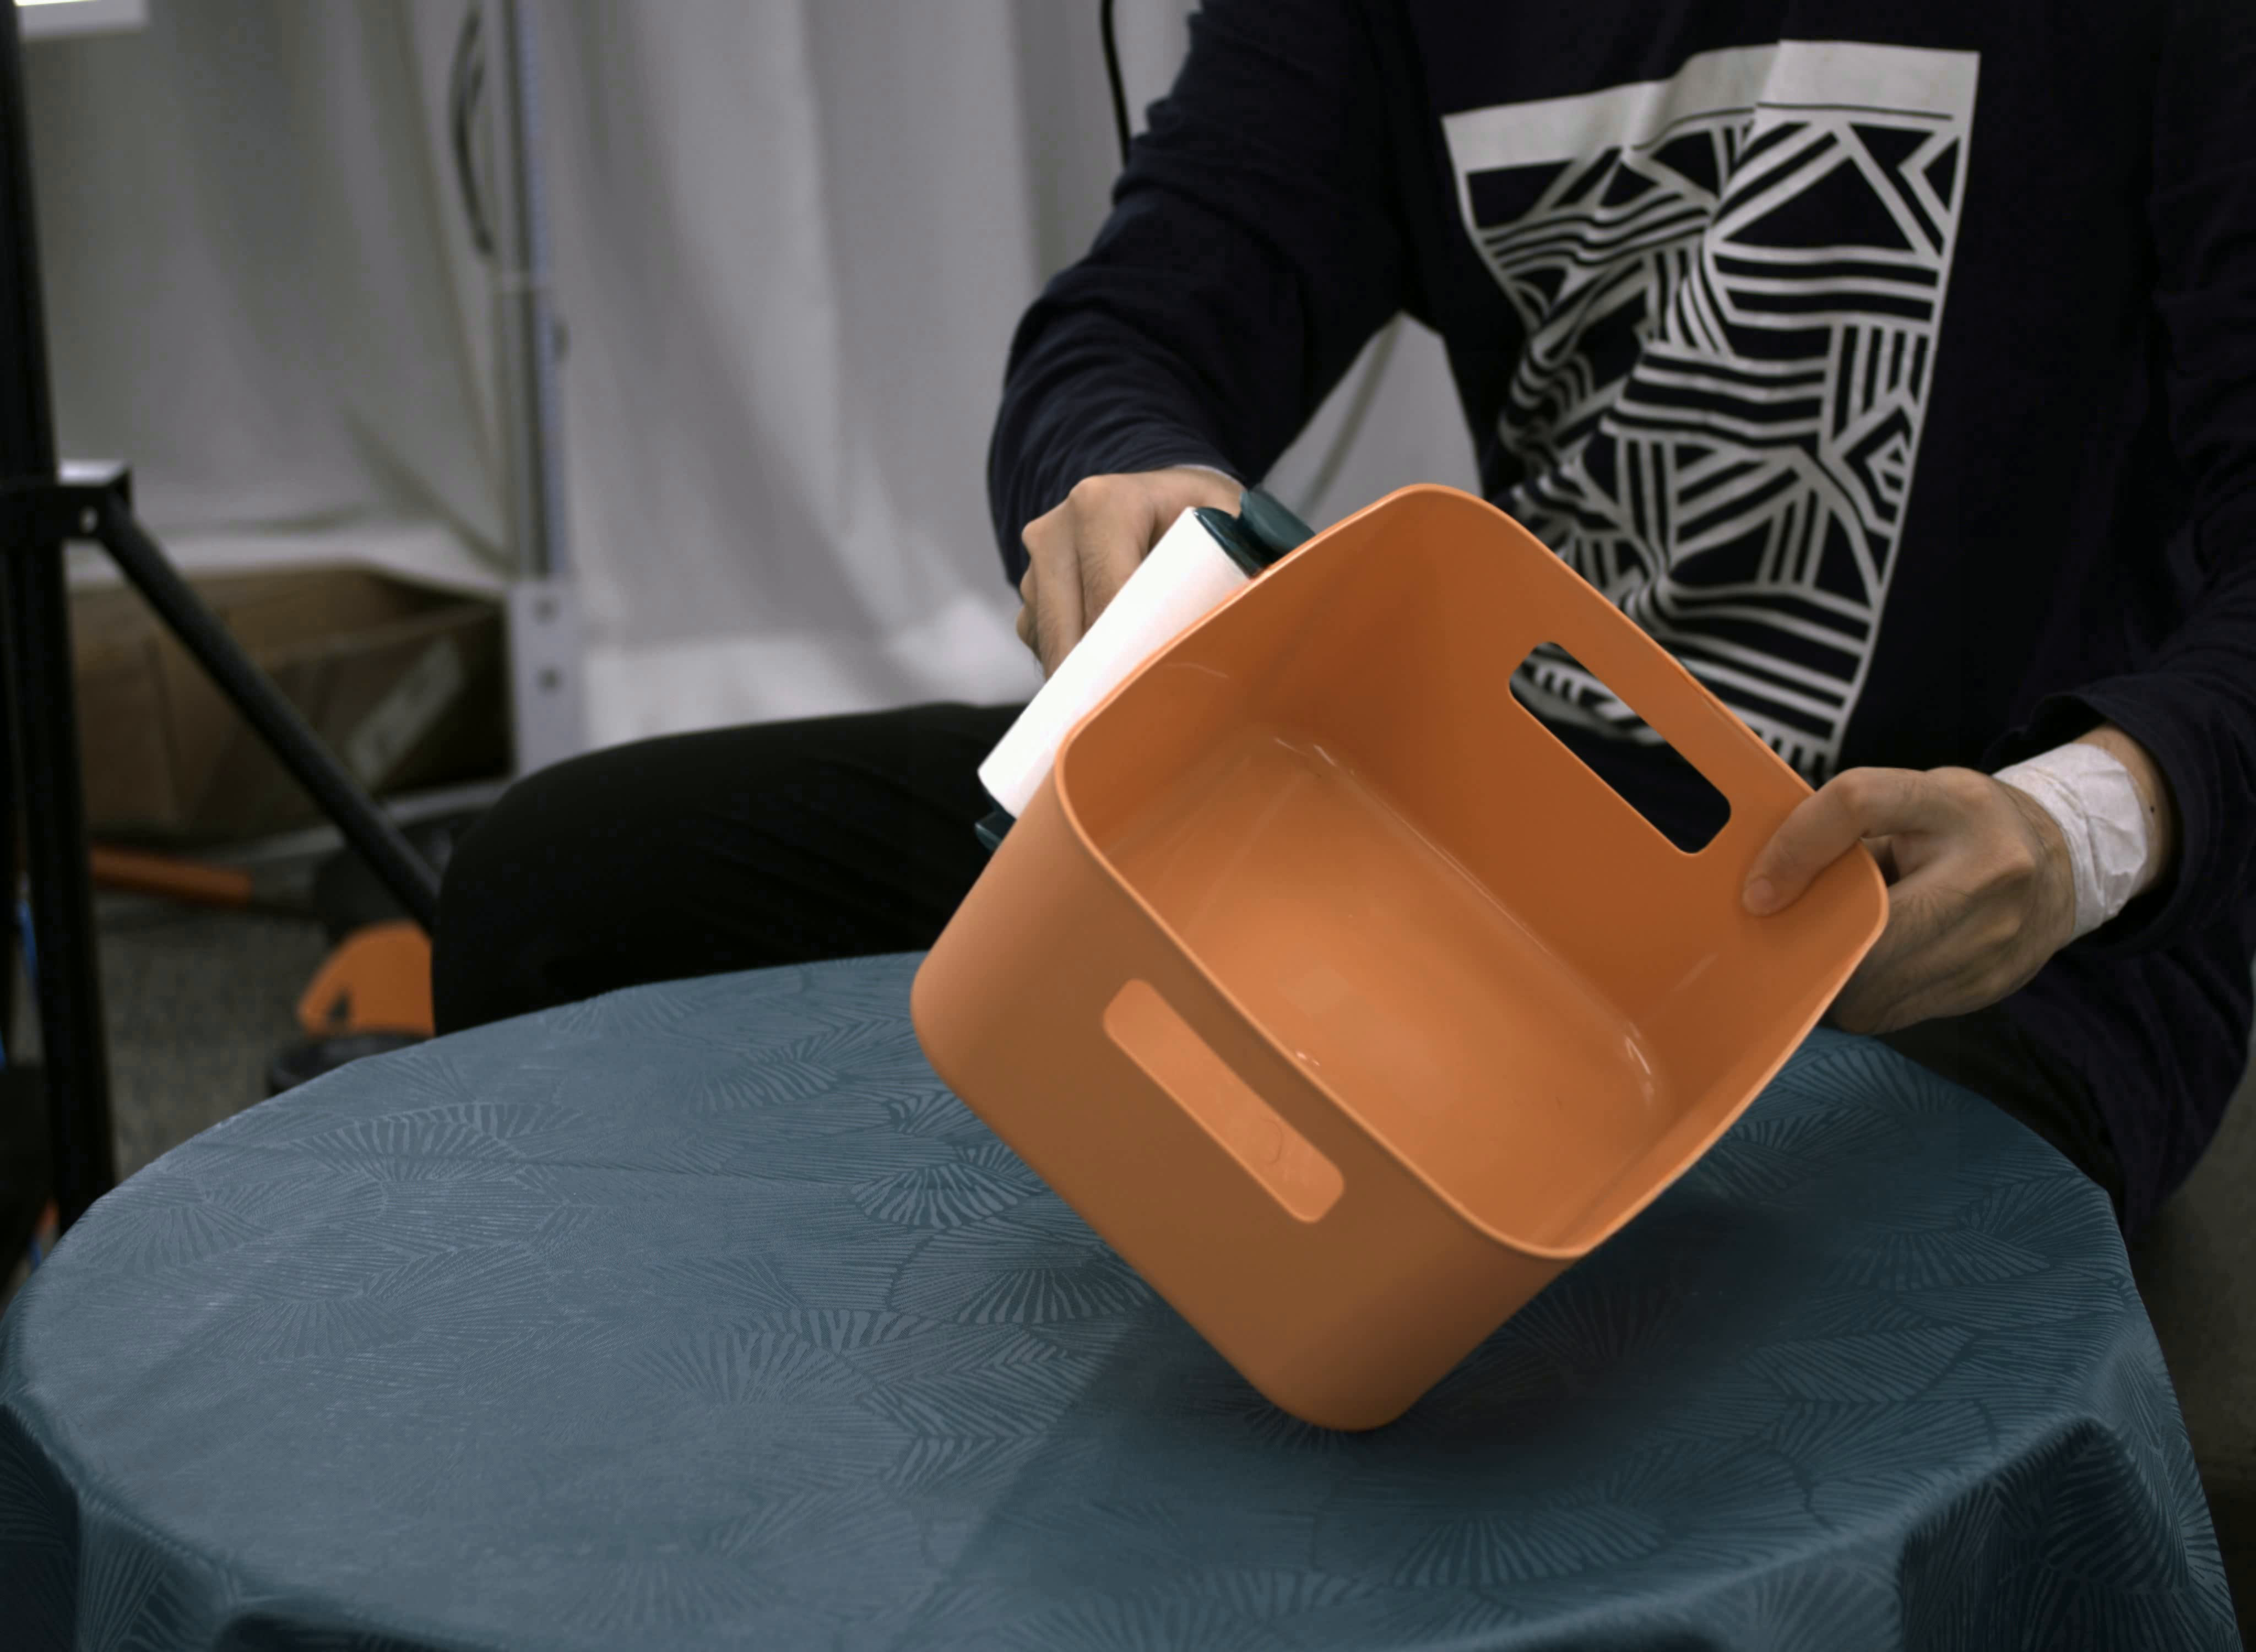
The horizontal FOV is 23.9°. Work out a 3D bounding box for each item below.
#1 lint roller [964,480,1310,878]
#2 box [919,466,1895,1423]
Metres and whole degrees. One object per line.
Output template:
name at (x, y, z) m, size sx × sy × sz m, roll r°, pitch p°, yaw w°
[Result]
lint roller at (0.002, -0.055, 1.596) m, size 0.048 × 0.135 × 0.181 m, roll 37°, pitch 10°, yaw -9°
box at (0.073, 0.031, 1.440) m, size 0.200 × 0.103 × 0.269 m, roll 44°, pitch 35°, yaw 6°
